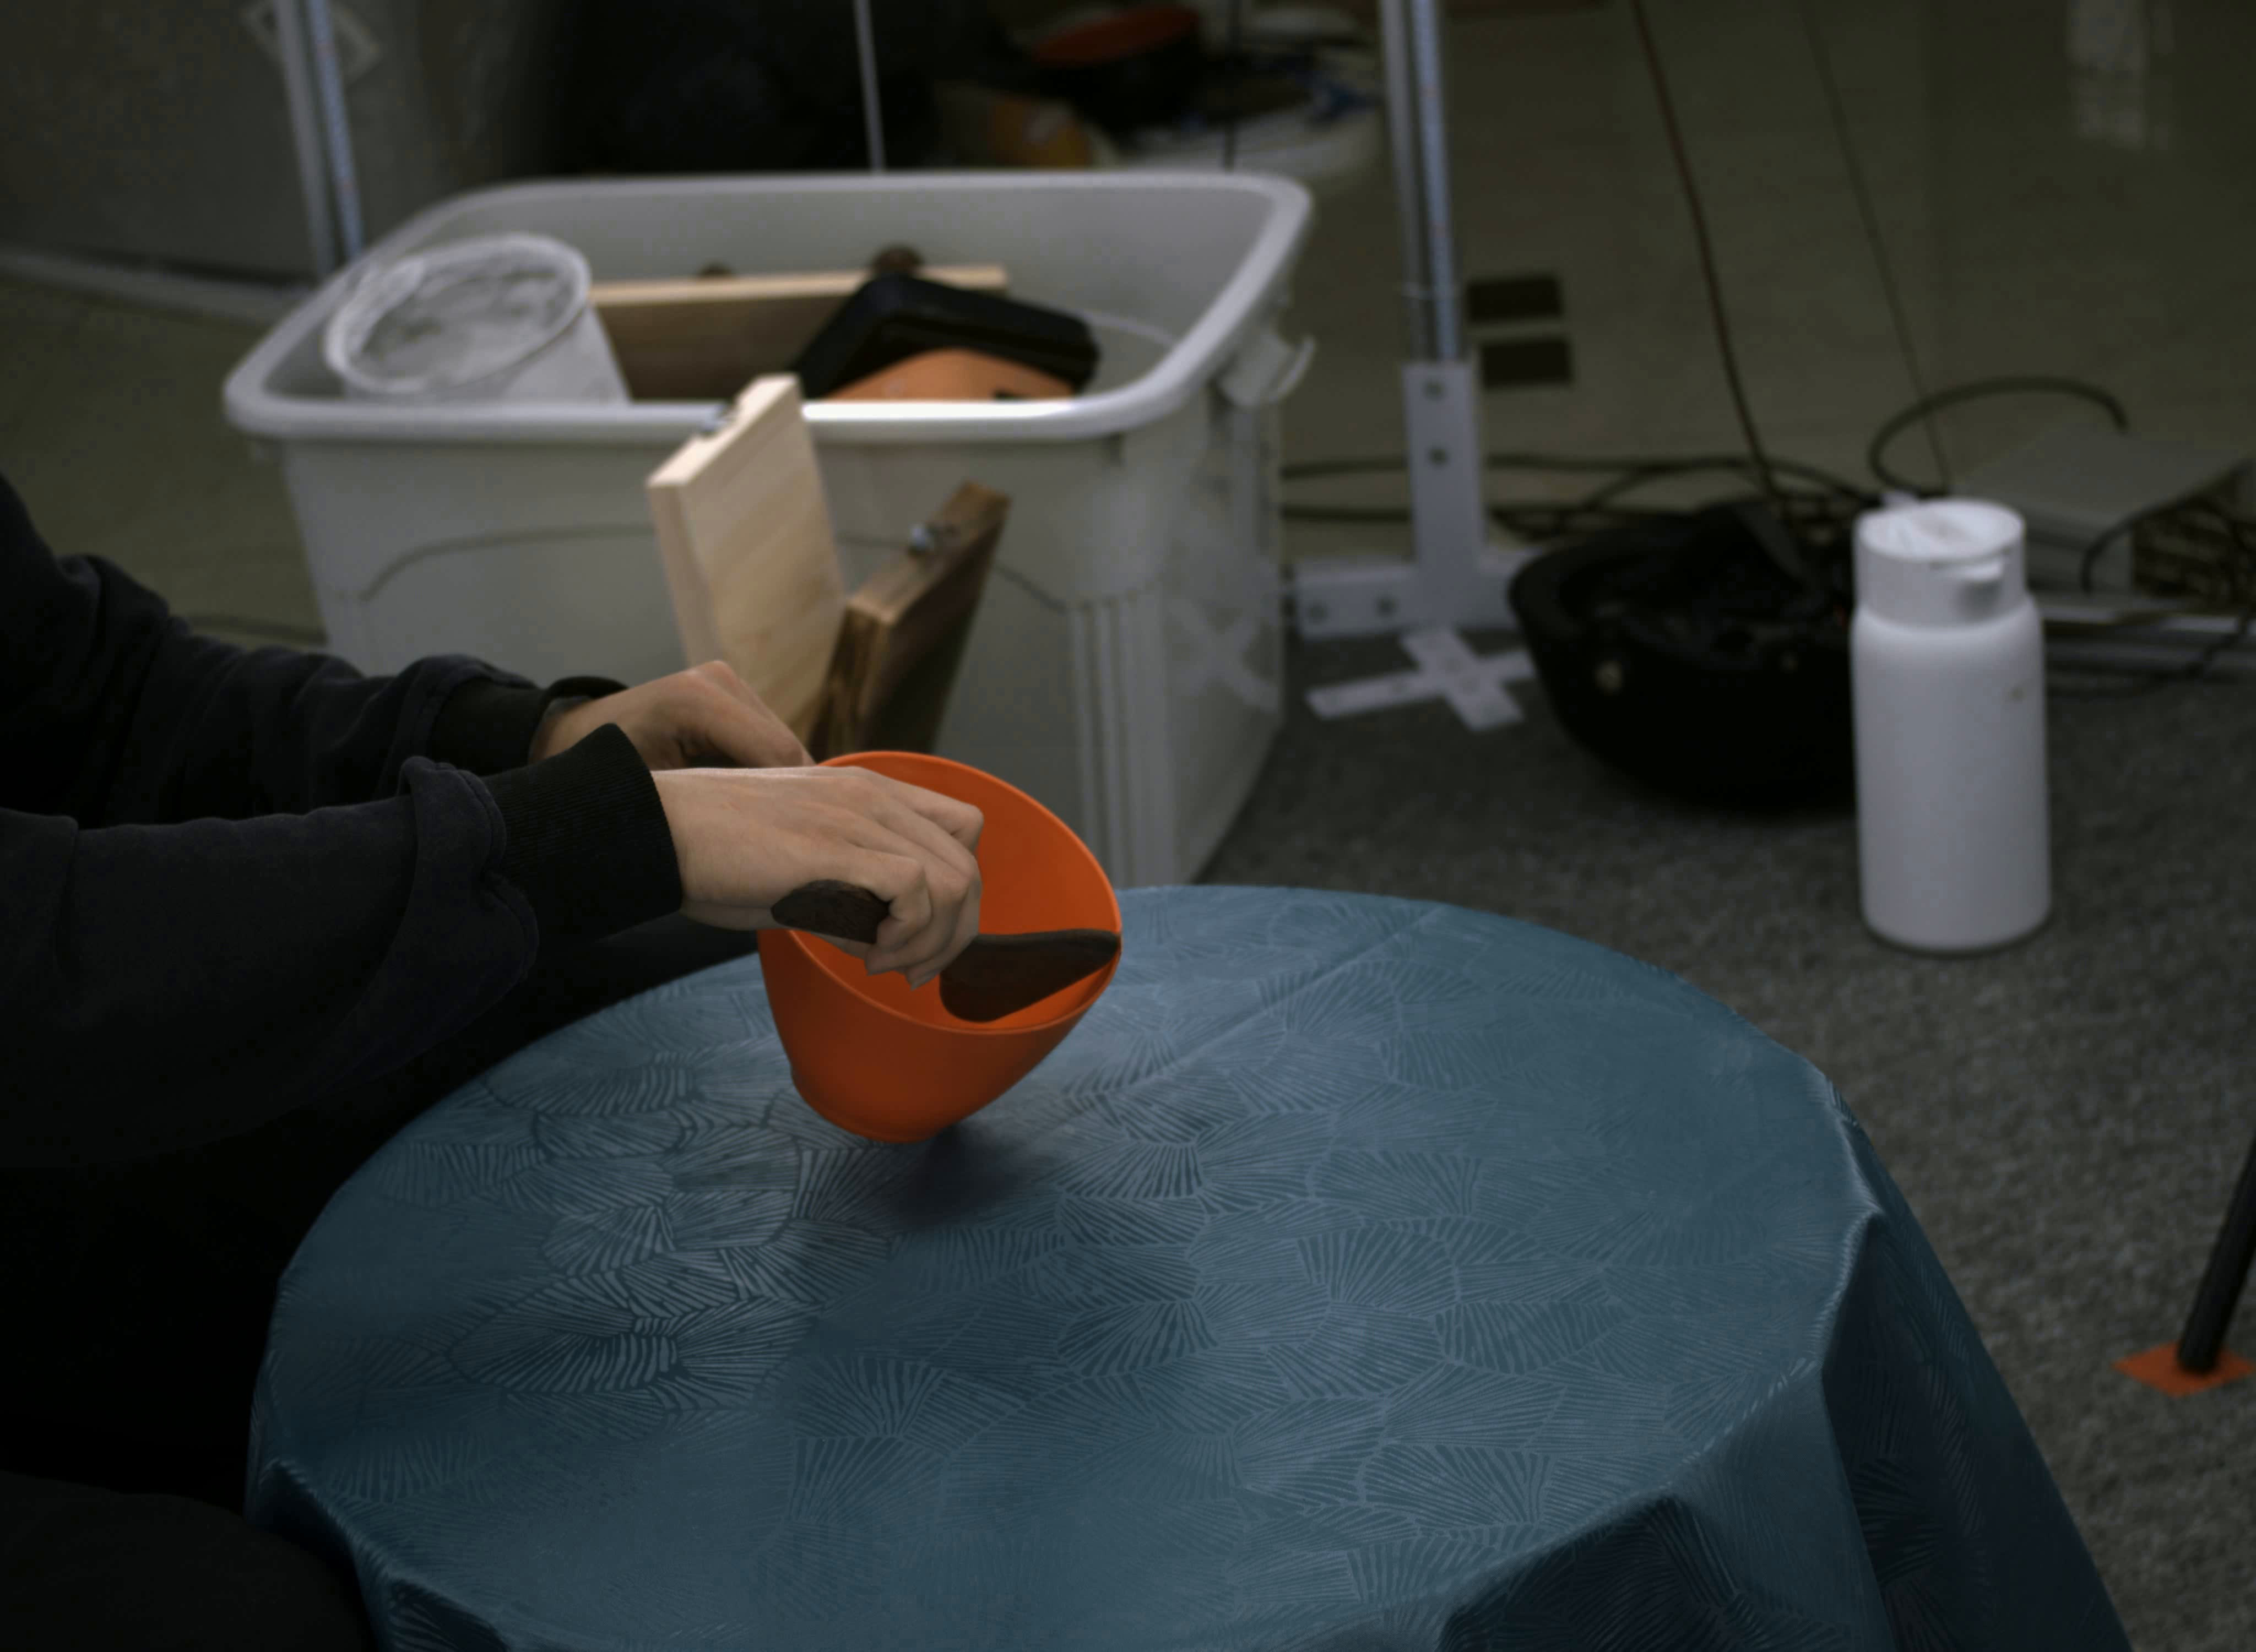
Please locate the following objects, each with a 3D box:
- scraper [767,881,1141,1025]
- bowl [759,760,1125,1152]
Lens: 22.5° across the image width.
[{"bbox_3d":[-0.070,0.045,2.100,0.076,0.011,0.212,-29,-23,21],"label":"scraper"},{"bbox_3d":[-0.083,0.059,2.200,0.148,0.106,0.145,16,32,-10],"label":"bowl"}]
